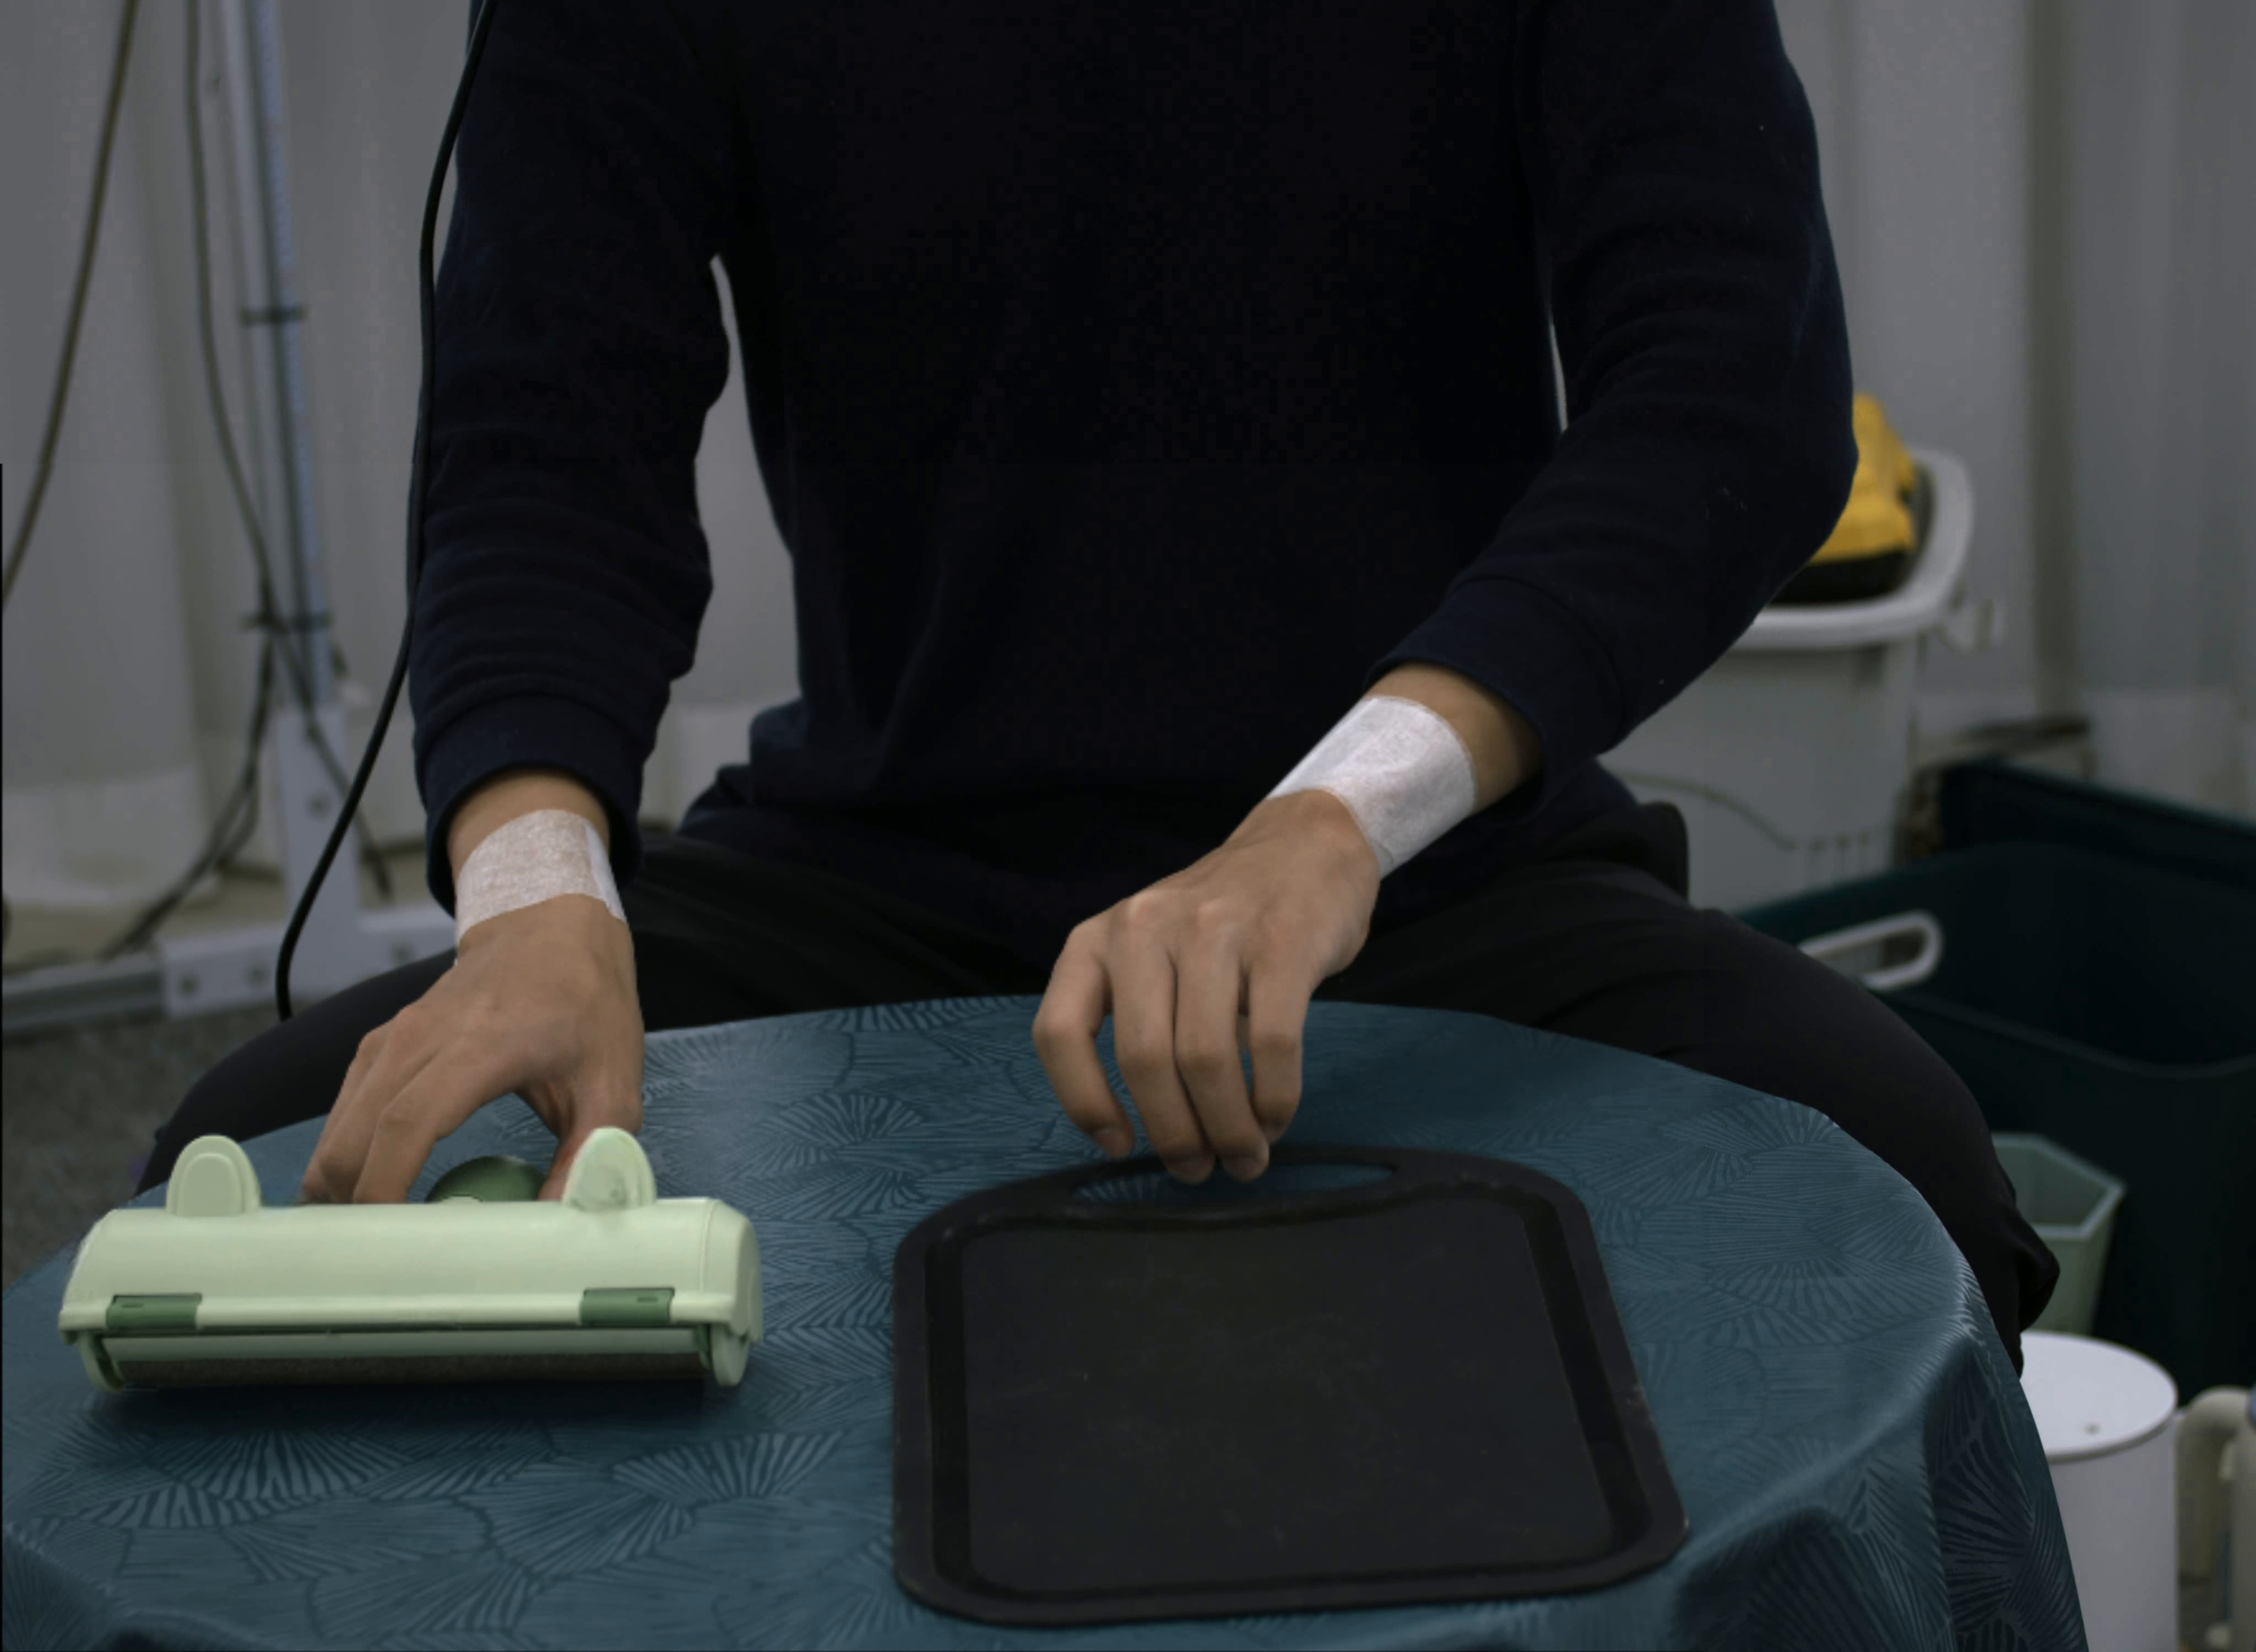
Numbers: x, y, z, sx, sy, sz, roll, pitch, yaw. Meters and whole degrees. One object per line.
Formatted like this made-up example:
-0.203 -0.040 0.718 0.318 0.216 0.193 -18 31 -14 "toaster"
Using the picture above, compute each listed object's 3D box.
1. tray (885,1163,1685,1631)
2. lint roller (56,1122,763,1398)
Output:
0.037 0.153 1.542 0.210 0.010 0.328 -3 17 -1 "tray"
-0.201 0.107 1.619 0.198 0.081 0.185 -1 21 5 "lint roller"
